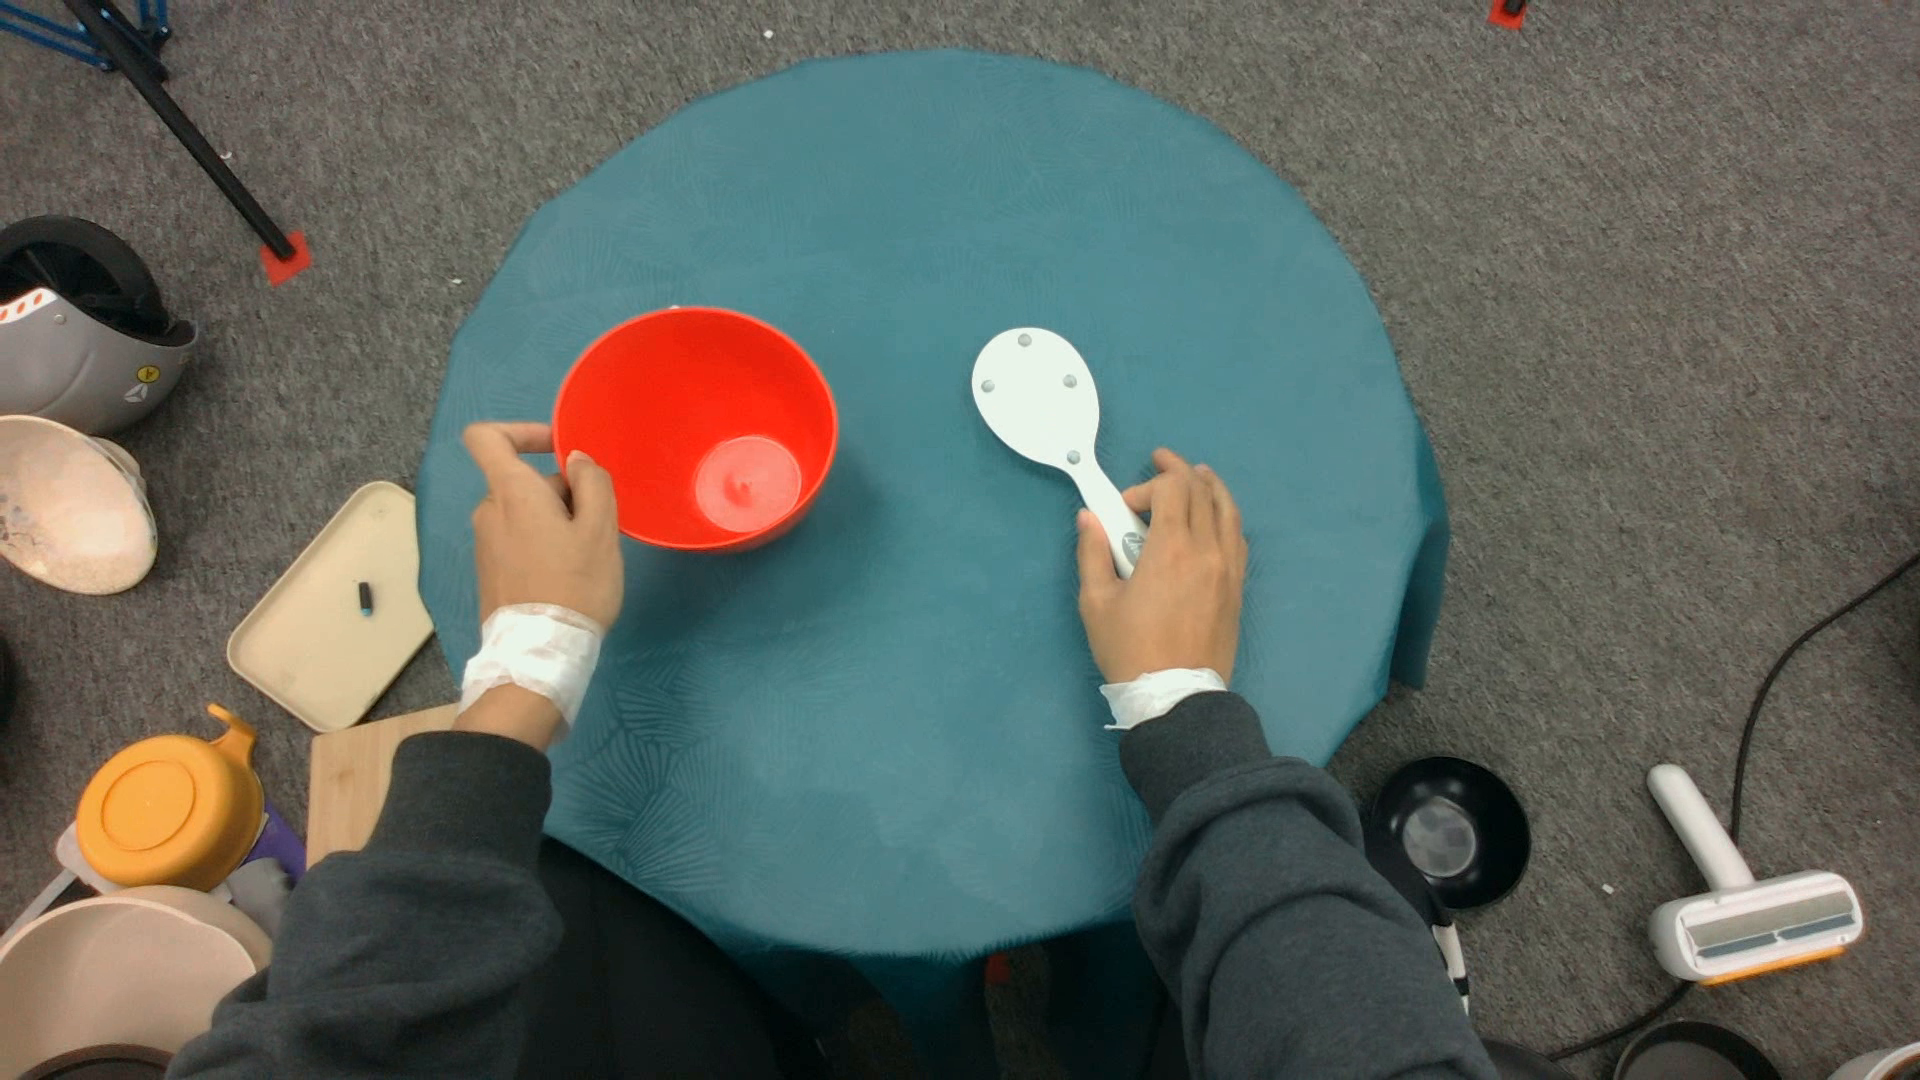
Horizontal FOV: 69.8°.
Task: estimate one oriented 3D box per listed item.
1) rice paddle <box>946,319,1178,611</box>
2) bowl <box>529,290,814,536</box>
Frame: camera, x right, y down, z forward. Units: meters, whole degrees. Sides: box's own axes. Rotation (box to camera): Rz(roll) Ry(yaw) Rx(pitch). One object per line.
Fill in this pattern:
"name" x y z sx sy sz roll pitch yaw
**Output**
"rice paddle" 0.057 -0.050 0.801 0.069 0.029 0.205 -31 69 -3
"bowl" -0.153 -0.057 0.774 0.148 0.104 0.148 0 67 0
